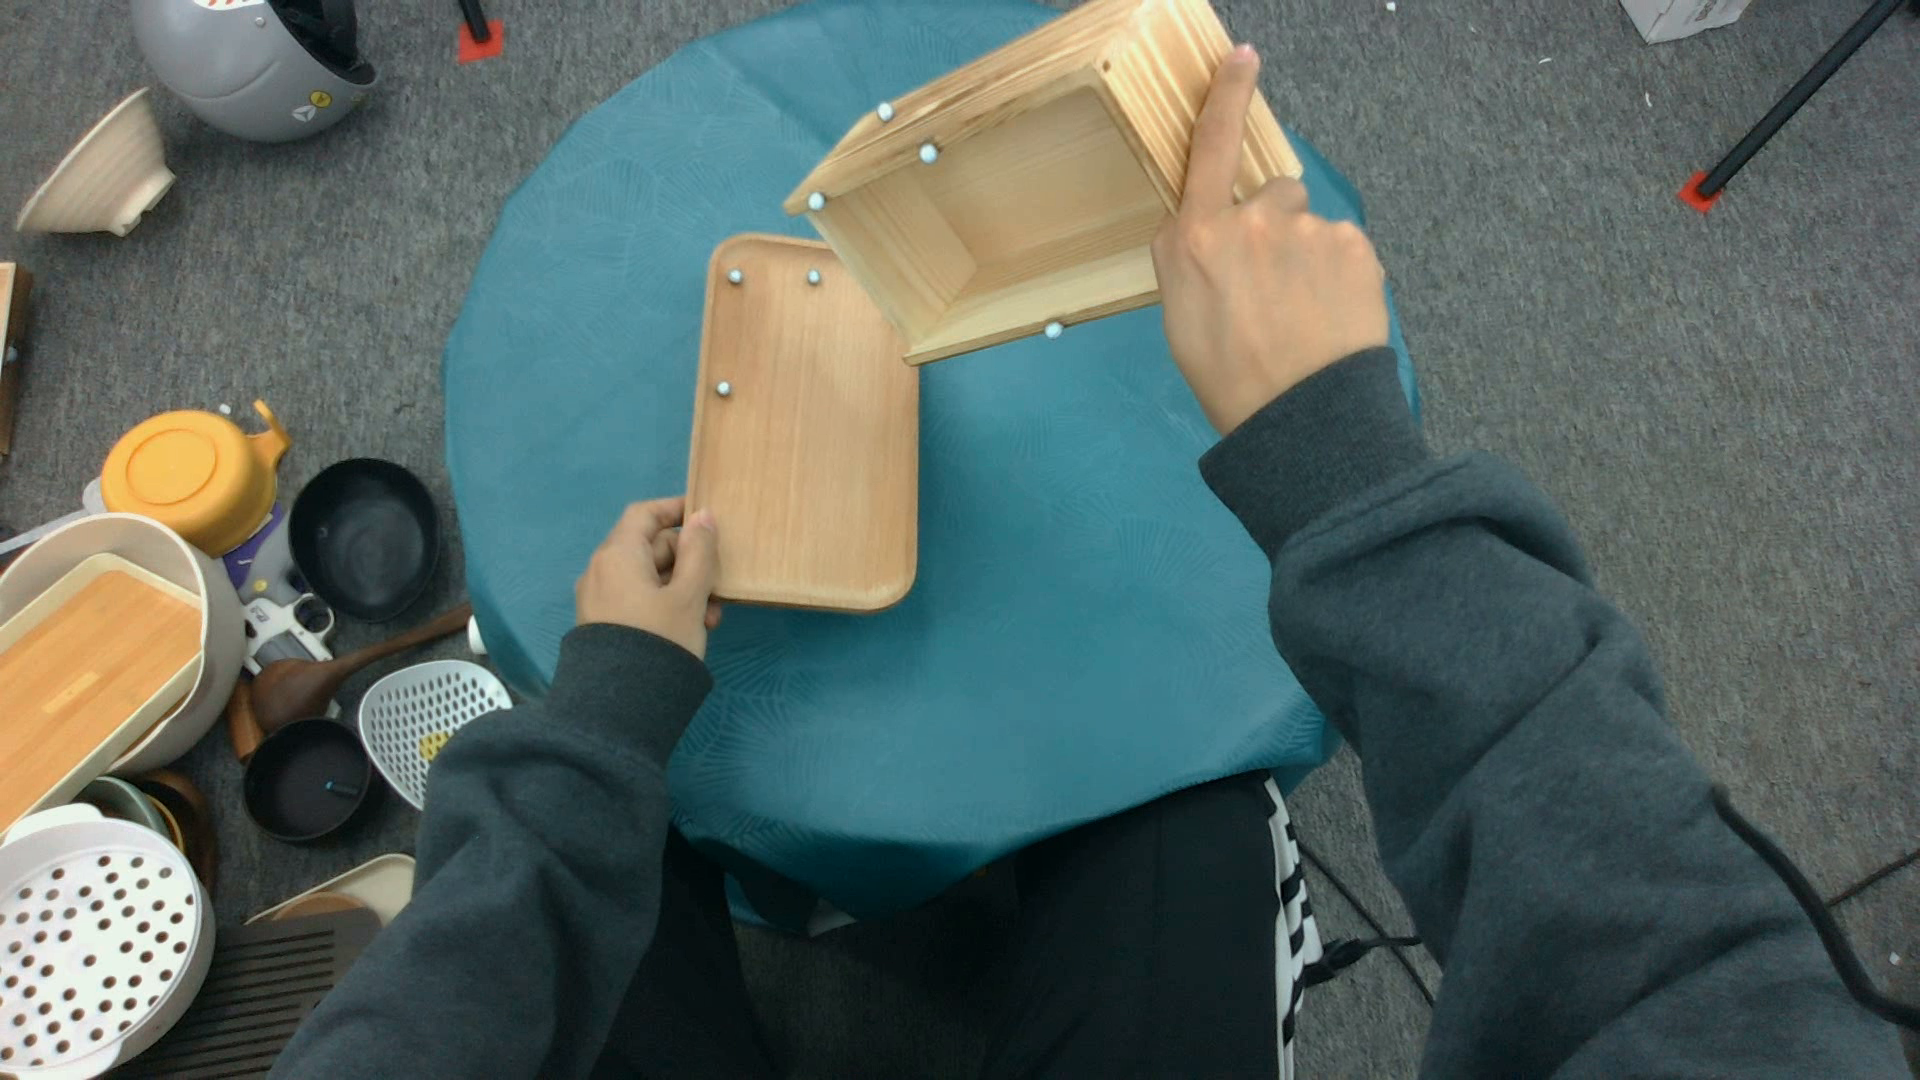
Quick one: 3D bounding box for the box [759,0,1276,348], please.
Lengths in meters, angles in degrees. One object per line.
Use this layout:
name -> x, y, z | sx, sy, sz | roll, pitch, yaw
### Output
box -> 0.020, -0.168, 0.631 | 0.107, 0.211, 0.080 | 51, 56, -27

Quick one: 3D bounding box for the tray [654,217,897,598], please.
tray -> -0.101, -0.081, 0.785 | 0.130, 0.023, 0.251 | 4, 61, -9
